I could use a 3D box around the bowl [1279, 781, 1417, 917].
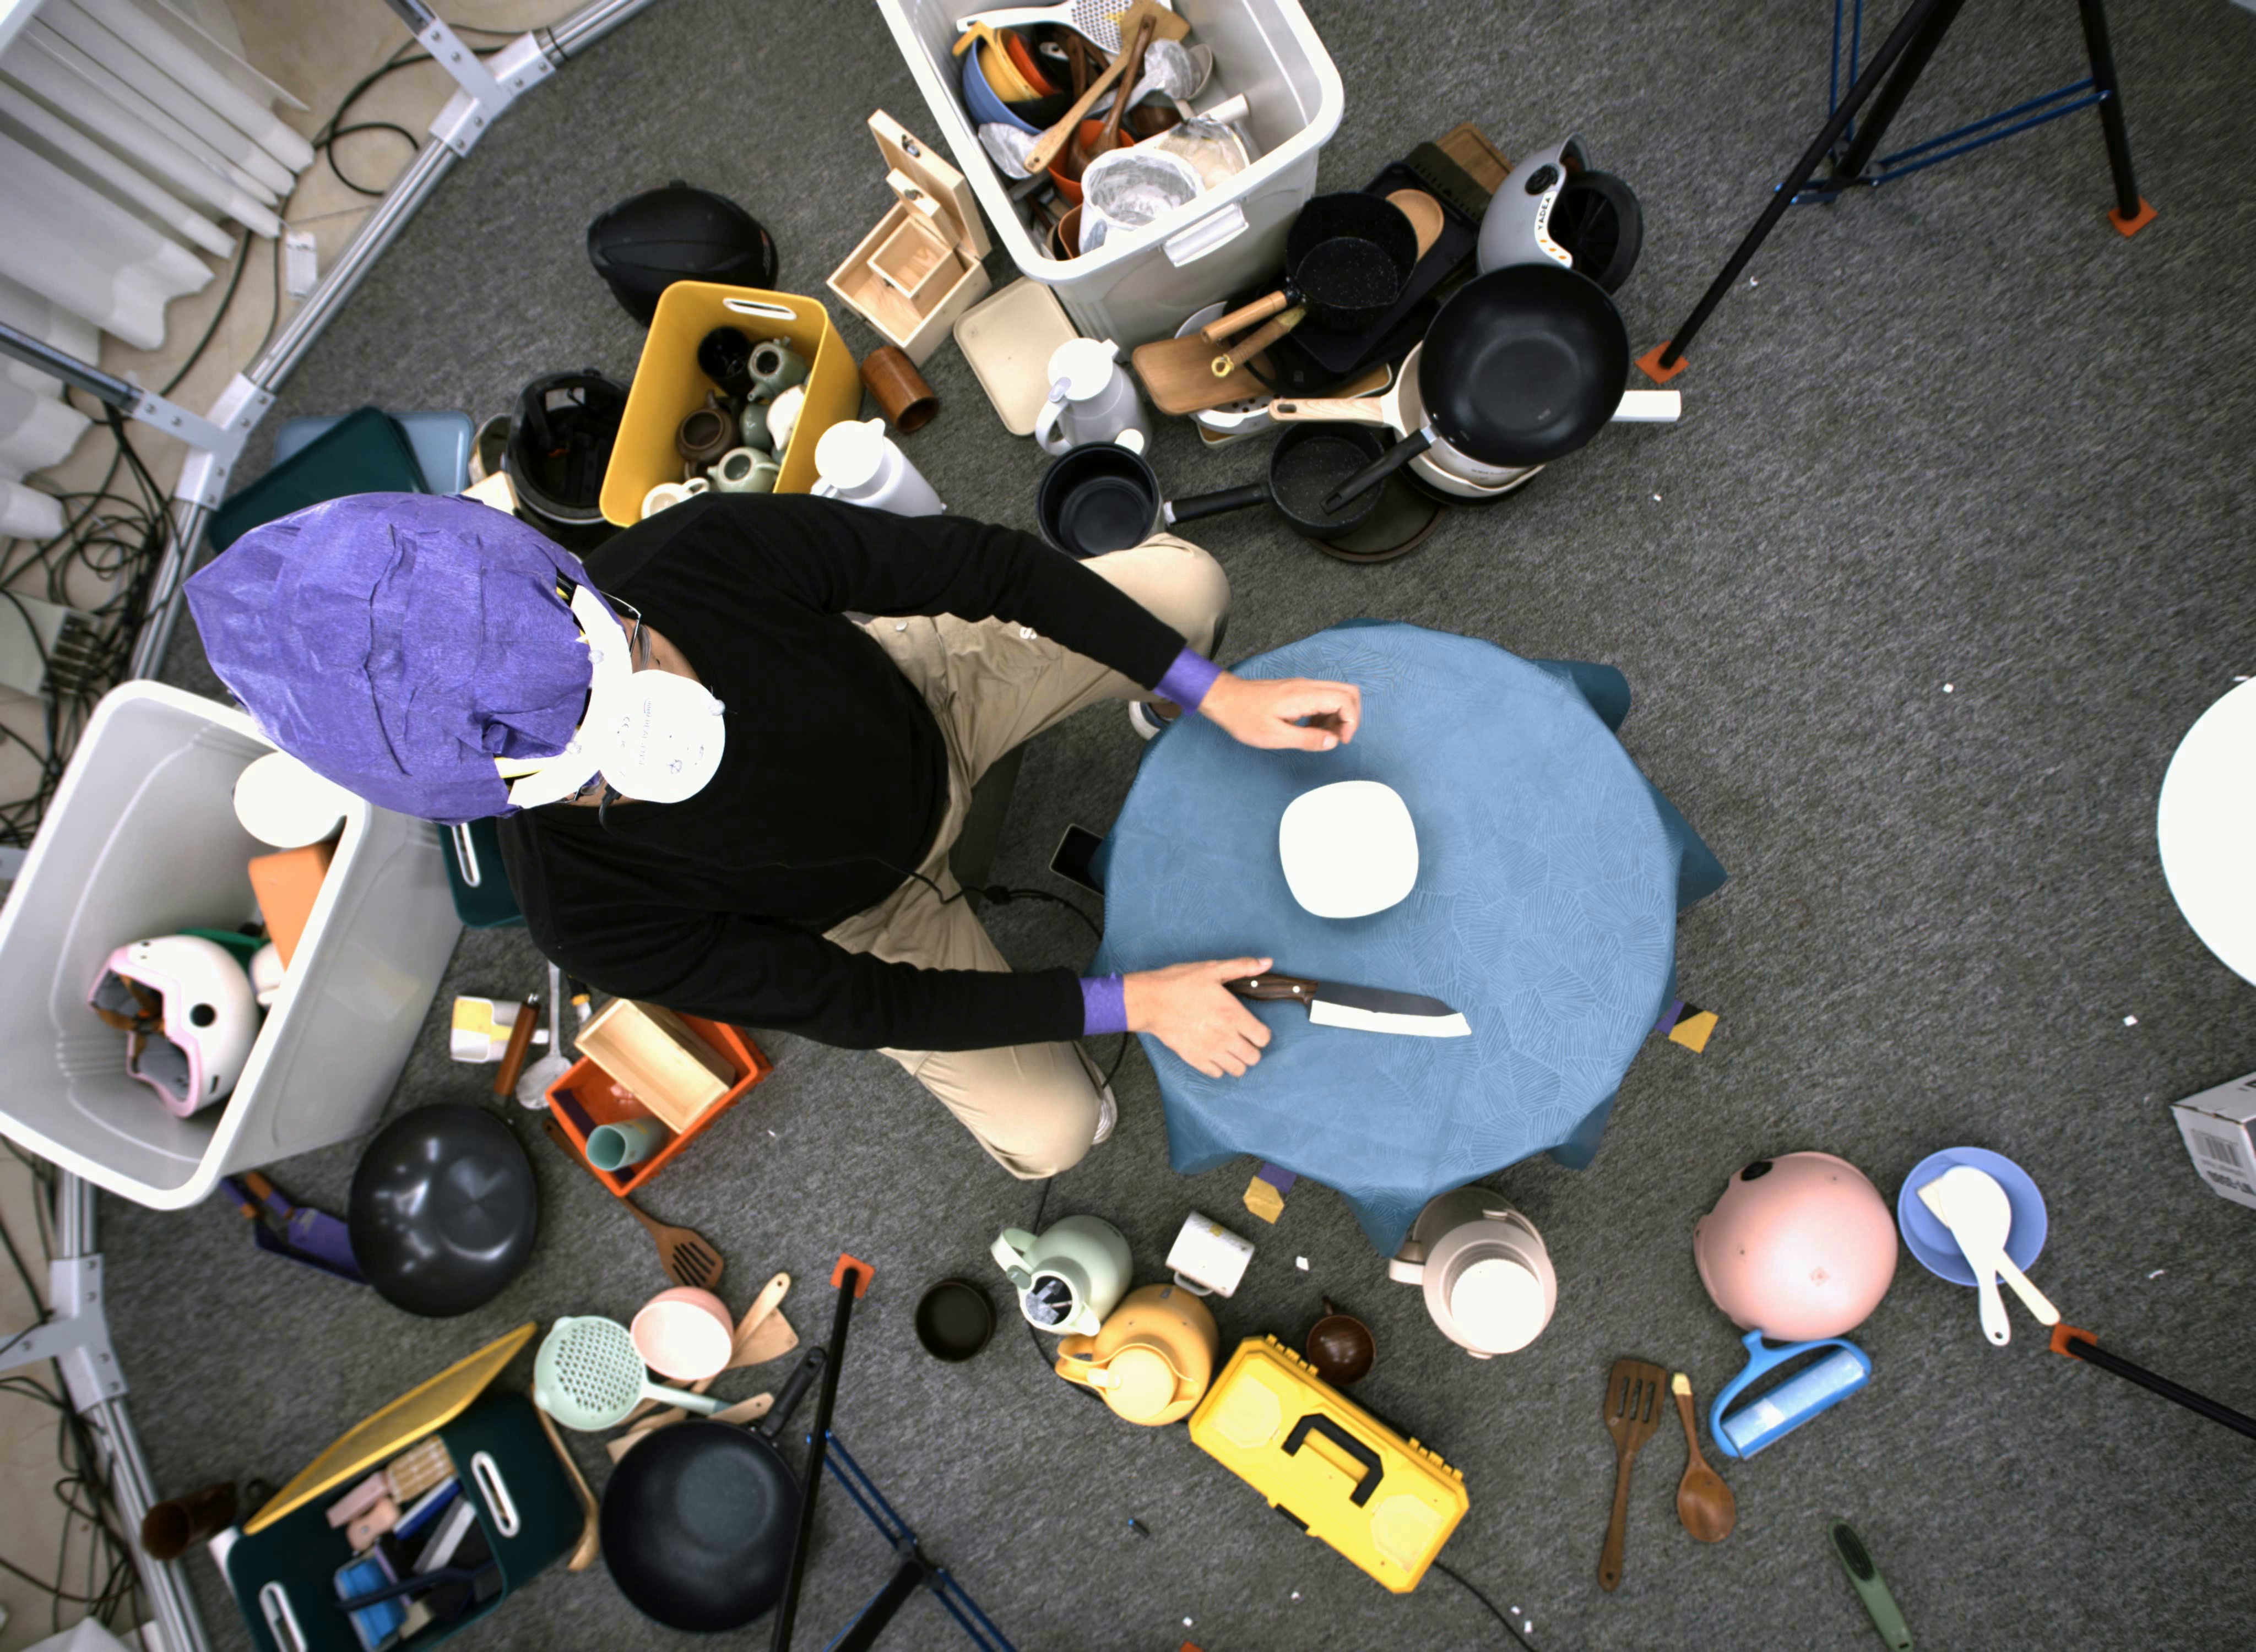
[{"bbox_3d":[0.229,0.025,1.443,0.152,0.058,0.151,-1,87,9],"label":"bowl"}]

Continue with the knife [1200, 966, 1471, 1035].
[{"bbox_3d":[0.217,0.183,1.459,0.289,0.020,0.050,10,94,9],"label":"knife"}]
